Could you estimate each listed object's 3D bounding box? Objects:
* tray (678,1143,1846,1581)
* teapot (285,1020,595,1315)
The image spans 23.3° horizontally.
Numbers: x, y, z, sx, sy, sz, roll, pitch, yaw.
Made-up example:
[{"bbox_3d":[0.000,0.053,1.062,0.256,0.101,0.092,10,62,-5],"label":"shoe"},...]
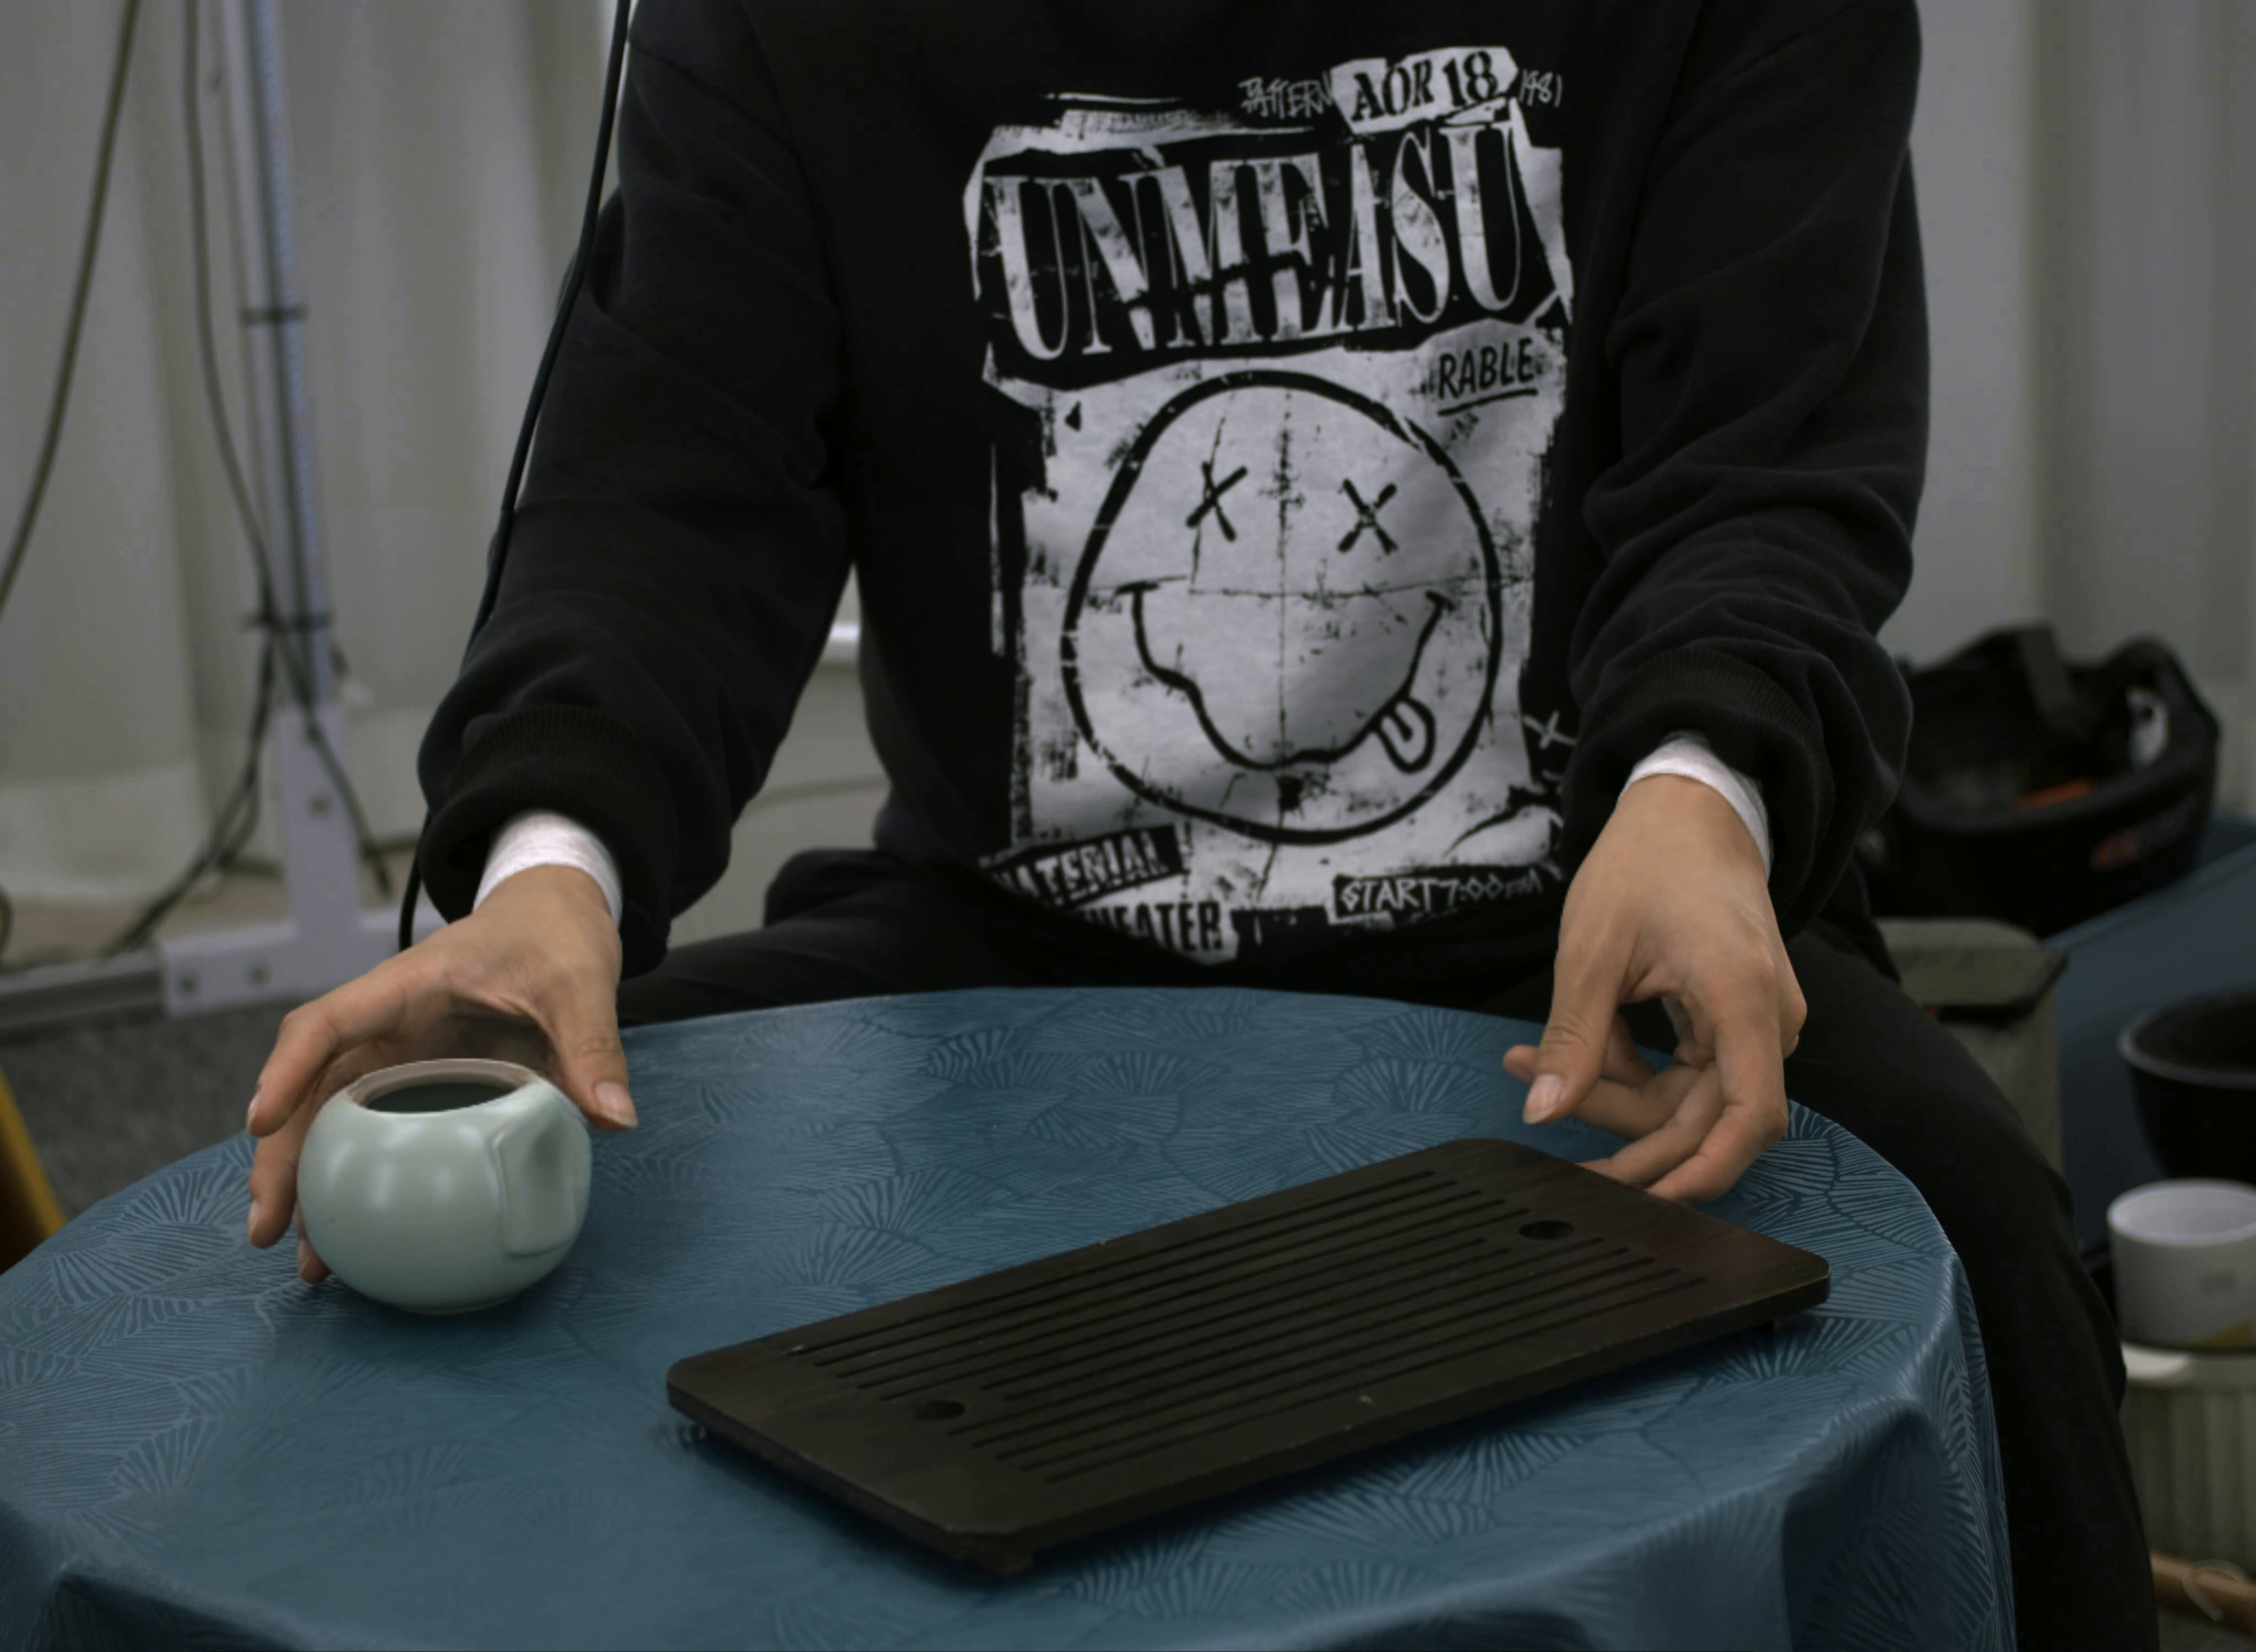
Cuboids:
[{"bbox_3d":[0.040,0.148,1.546,0.305,0.018,0.171,-13,18,-33],"label":"tray"},{"bbox_3d":[-0.206,0.106,1.646,0.088,0.074,0.145,-15,21,-40],"label":"teapot"}]
